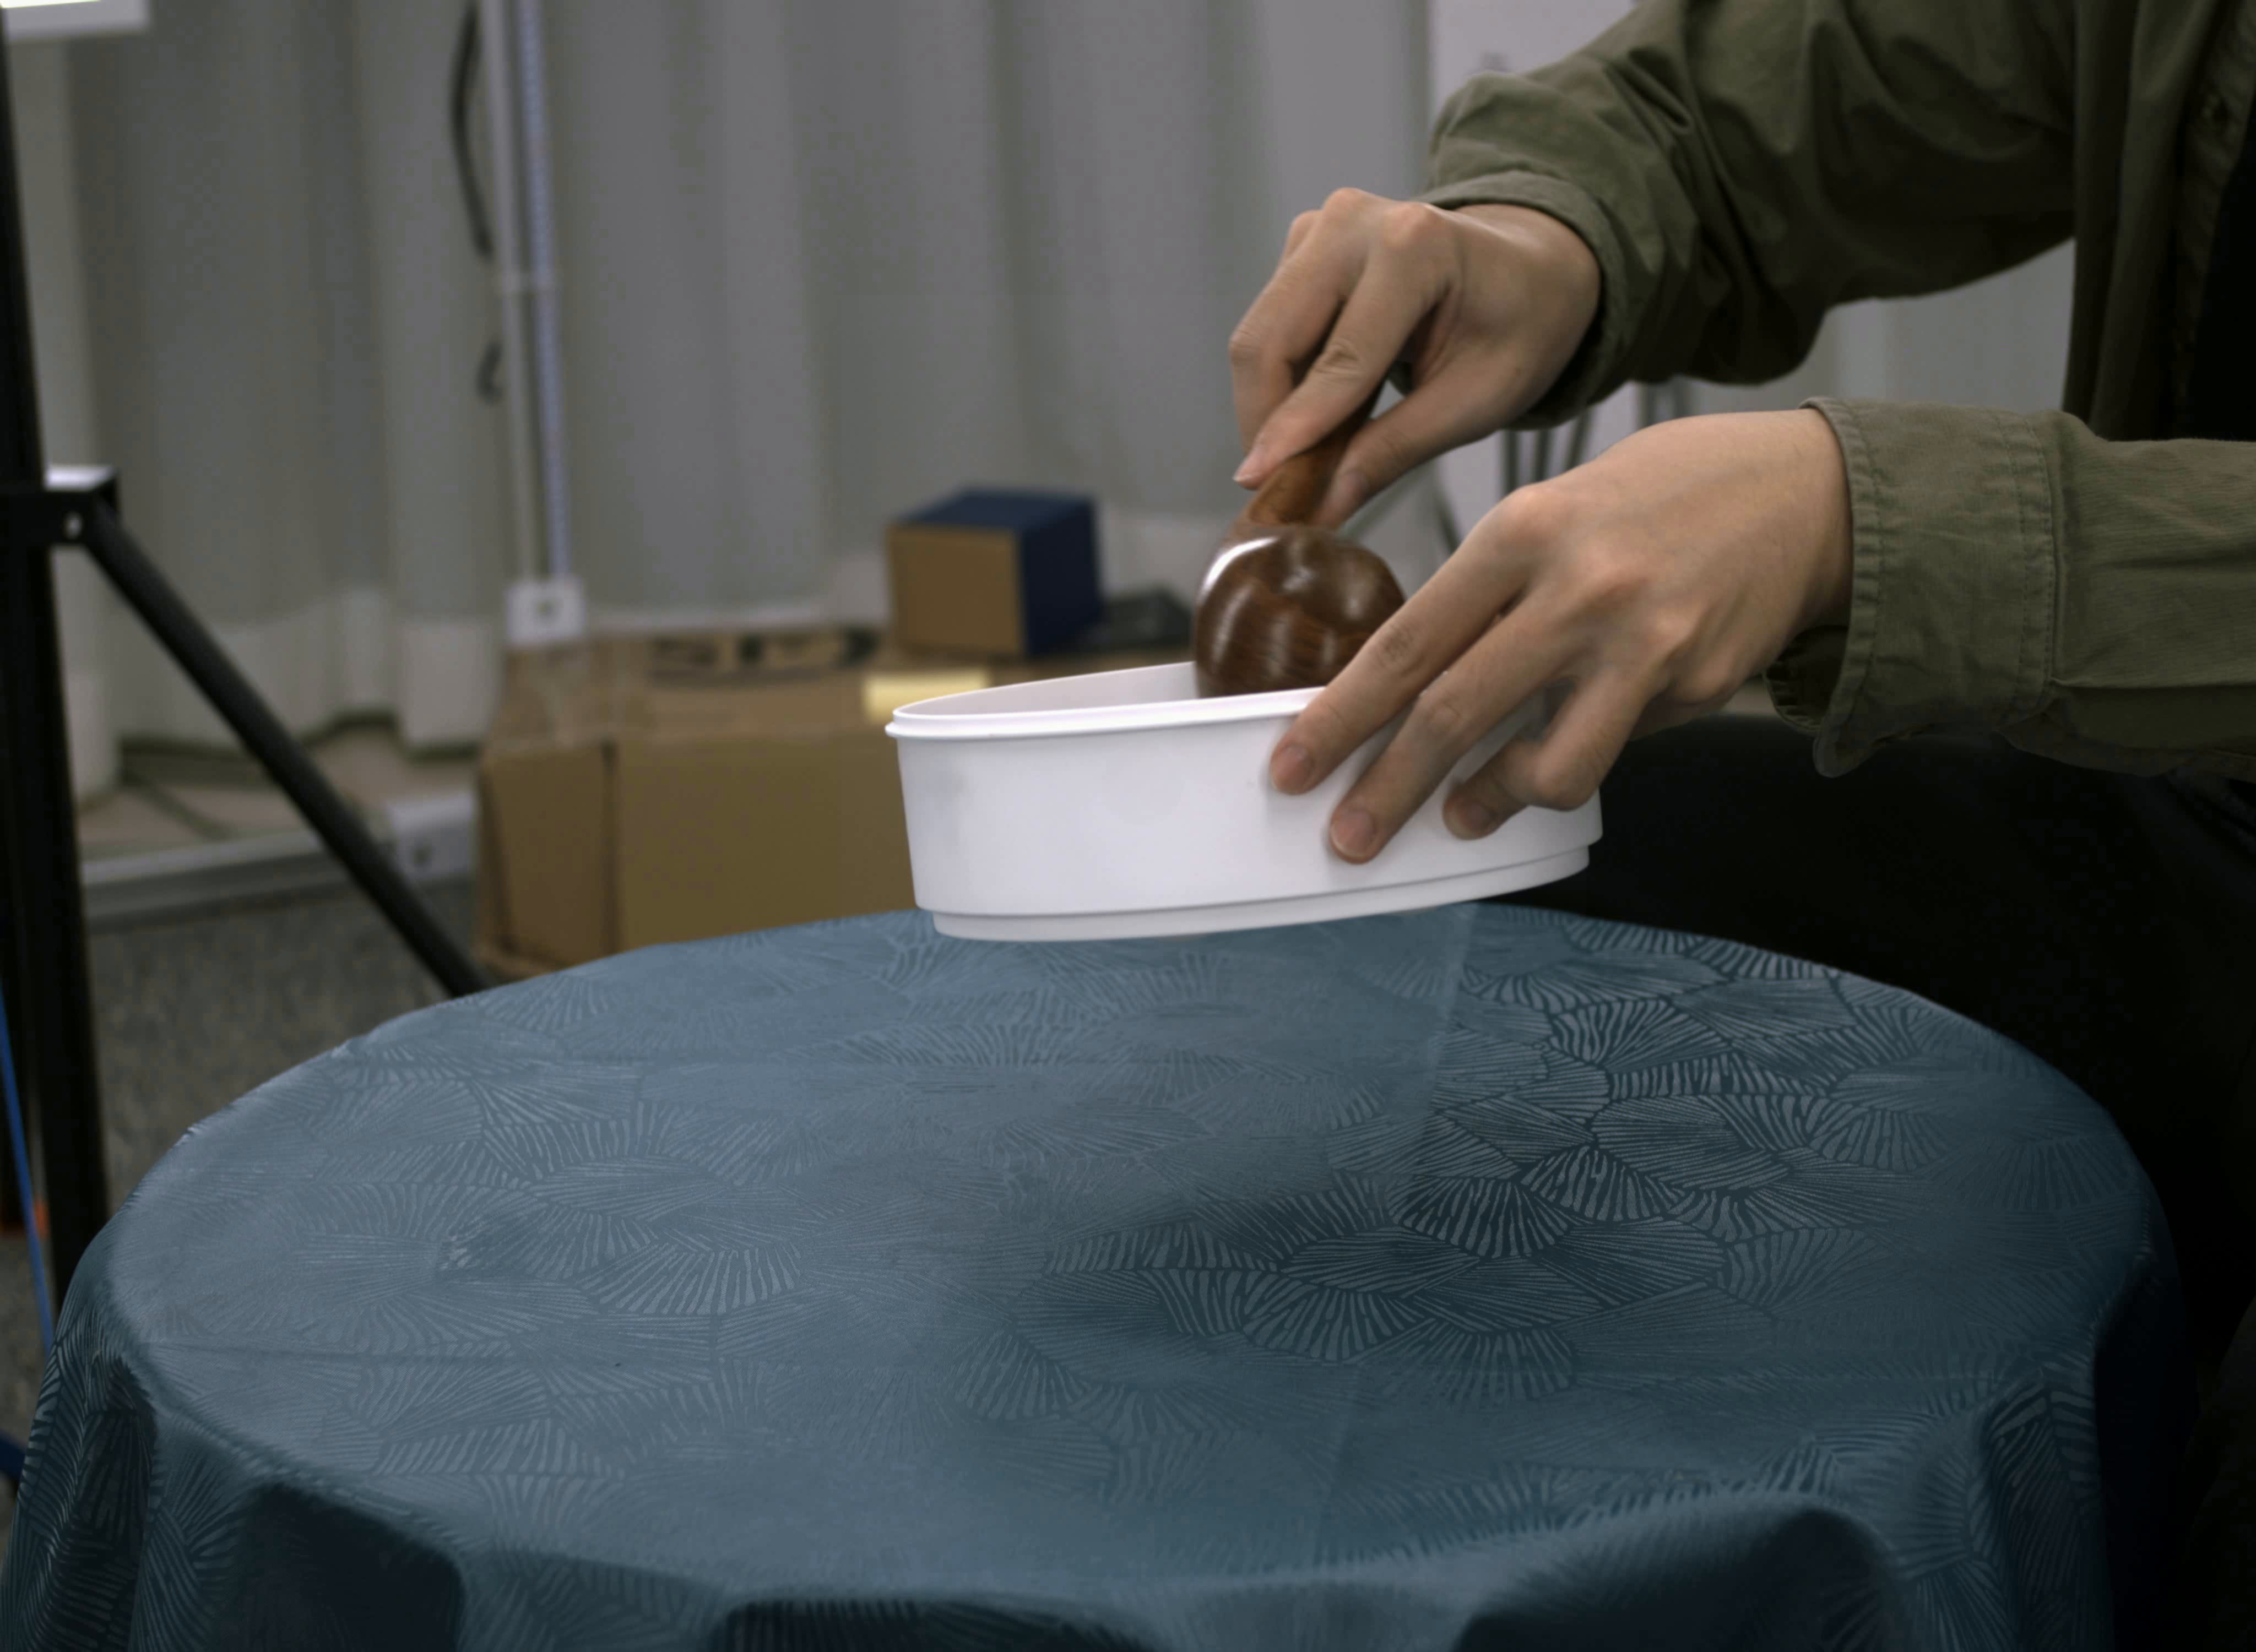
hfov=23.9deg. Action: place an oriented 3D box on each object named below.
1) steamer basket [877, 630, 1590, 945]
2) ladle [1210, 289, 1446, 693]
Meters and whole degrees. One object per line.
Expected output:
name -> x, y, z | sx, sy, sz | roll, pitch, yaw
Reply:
steamer basket -> 0.032, -0.010, 1.493 | 0.197, 0.069, 0.235 | -9, 7, -36
ladle -> 0.079, -0.093, 1.612 | 0.076, 0.082, 0.273 | 32, 29, -2
